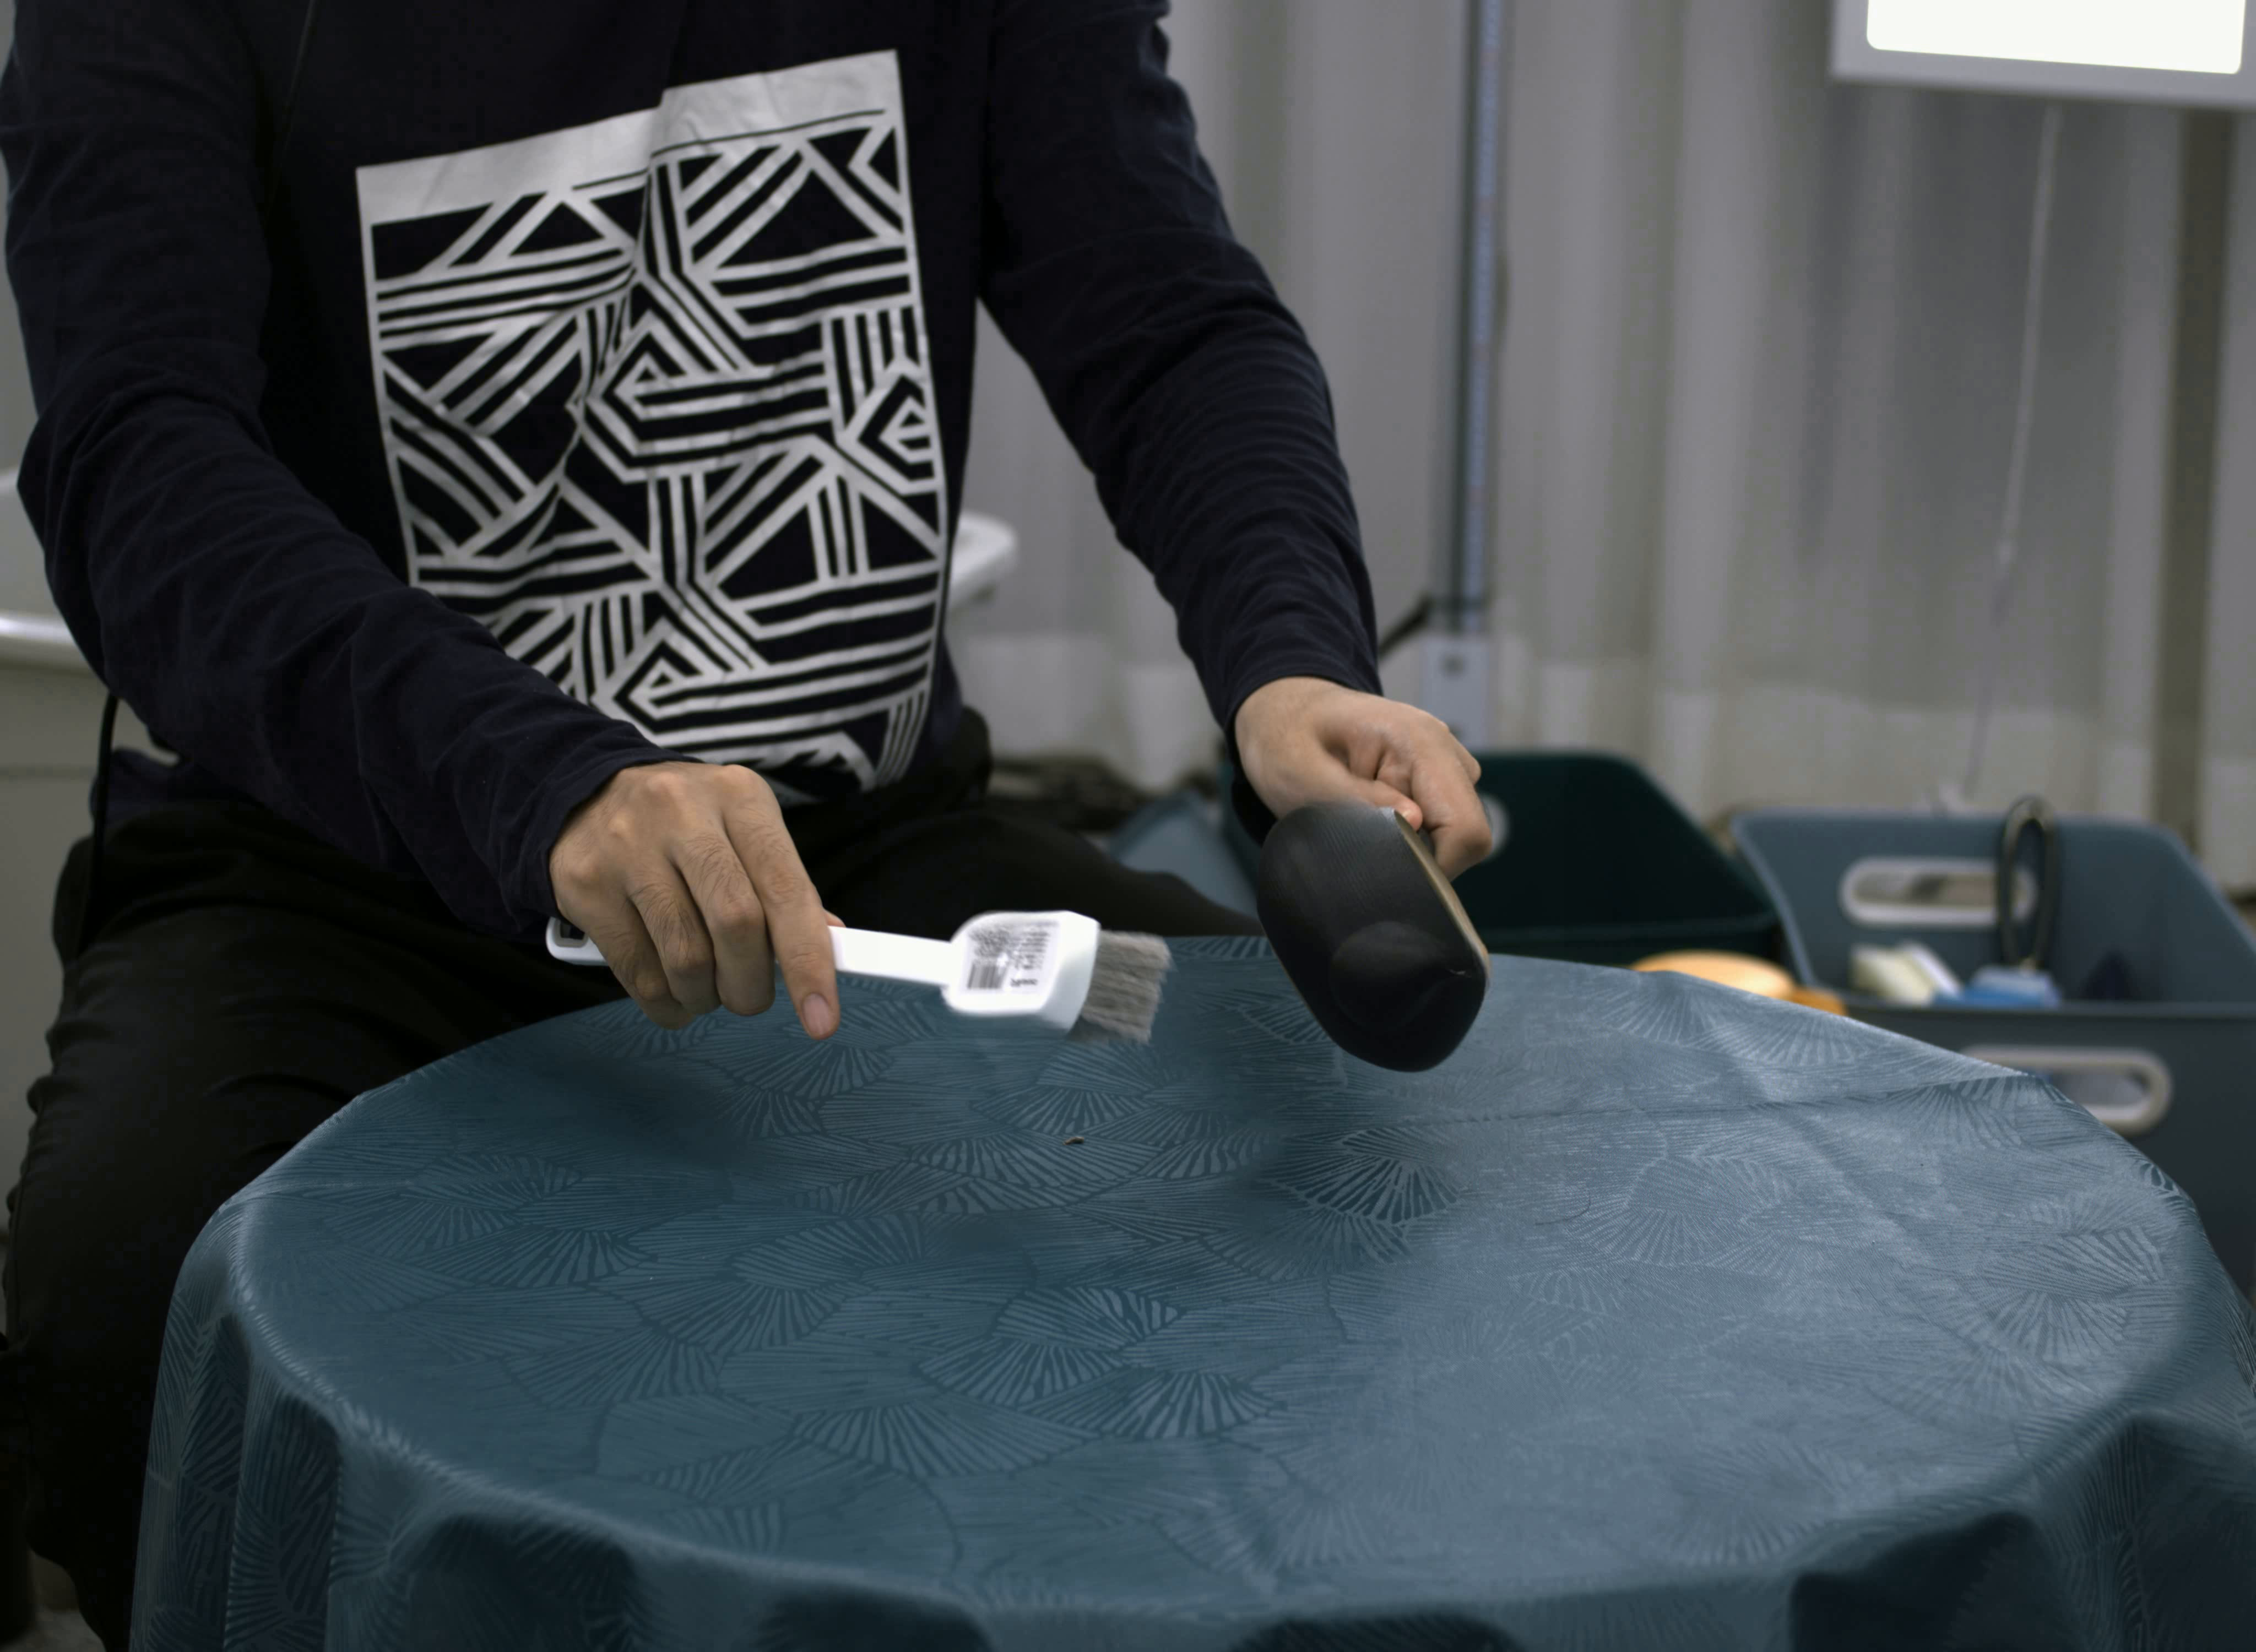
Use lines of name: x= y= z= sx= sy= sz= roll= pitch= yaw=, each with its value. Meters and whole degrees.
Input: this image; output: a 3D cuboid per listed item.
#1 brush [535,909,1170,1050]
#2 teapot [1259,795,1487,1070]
brush: x=-0.086 y=0.046 z=1.635 sx=0.241 sy=0.034 sz=0.051 roll=0 pitch=-19 yaw=40
teapot: x=0.075 y=0.031 z=1.634 sx=0.053 sy=0.092 sz=0.132 roll=-27 pitch=18 yaw=7
